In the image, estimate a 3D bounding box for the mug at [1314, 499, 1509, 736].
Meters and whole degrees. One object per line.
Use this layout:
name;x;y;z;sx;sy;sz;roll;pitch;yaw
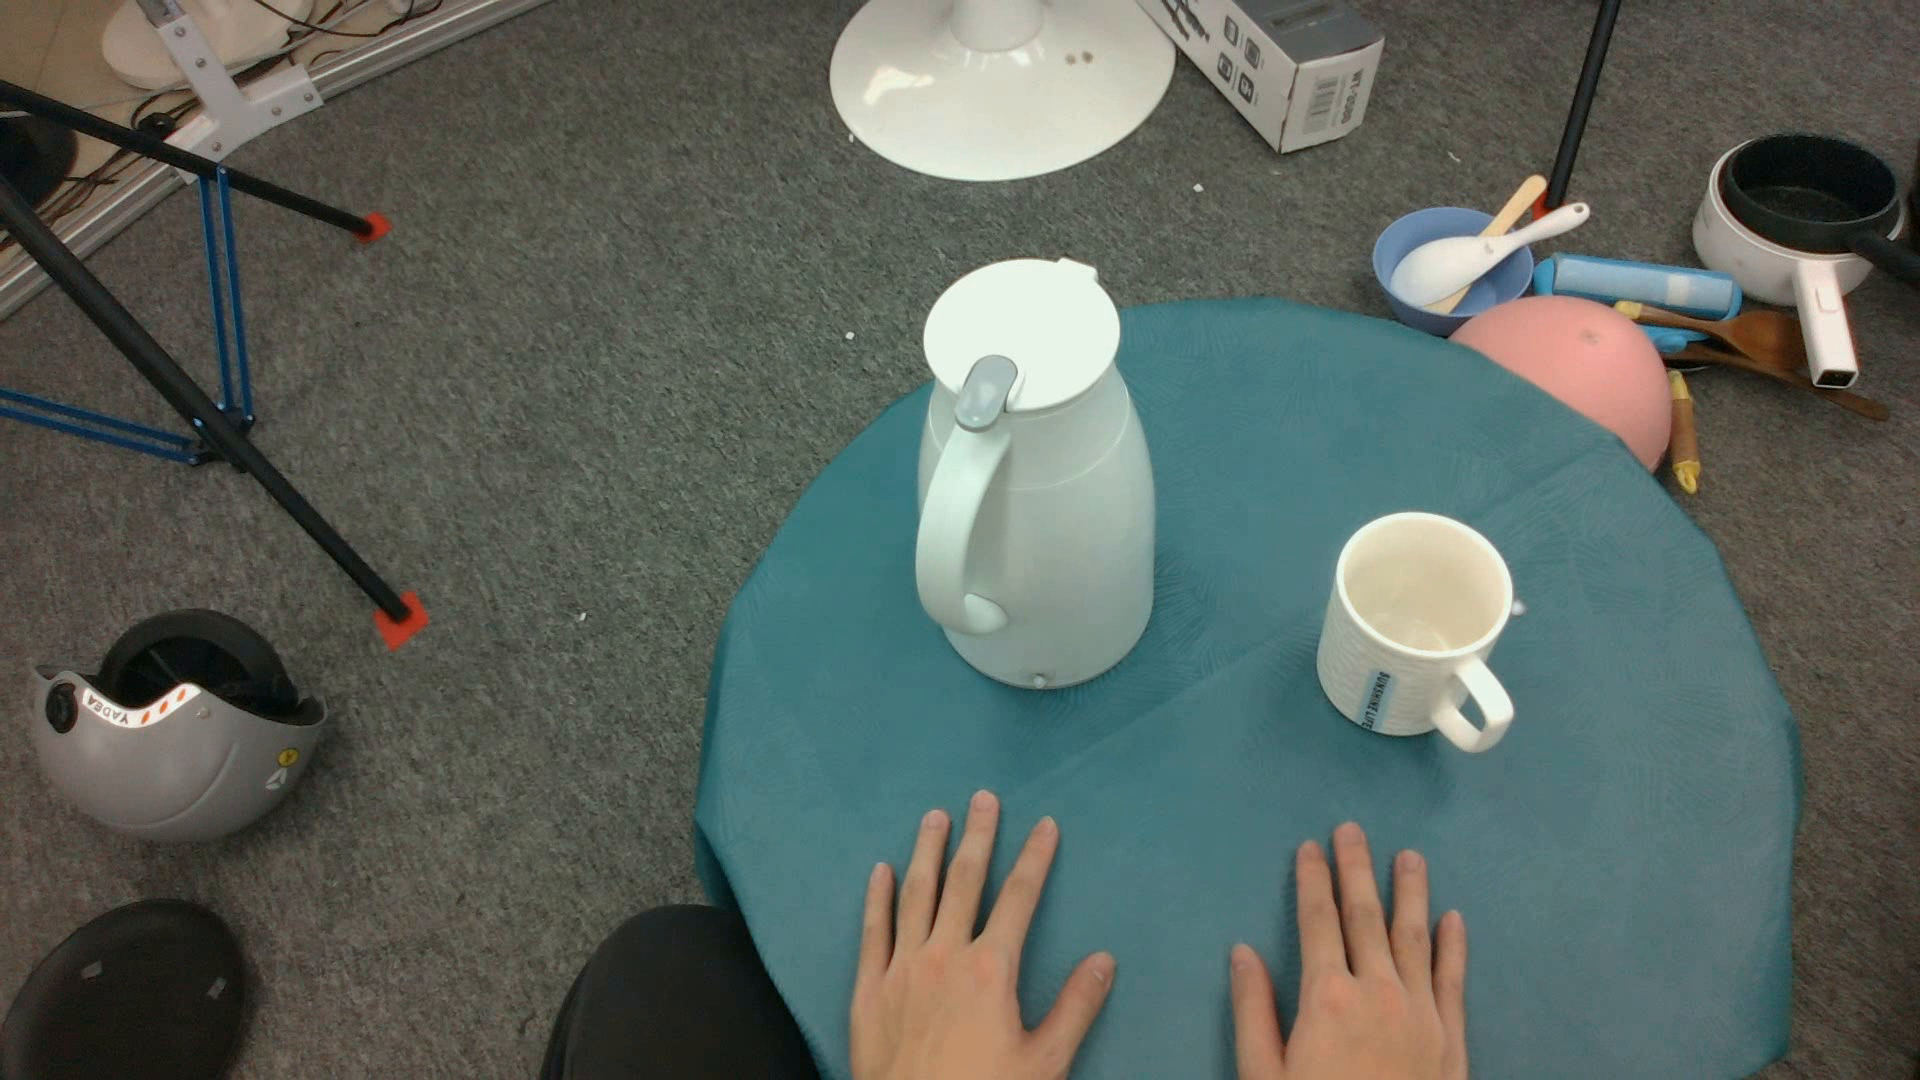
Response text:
mug;0.246;0.052;0.738;0.085;0.101;0.118;-25;59;-9

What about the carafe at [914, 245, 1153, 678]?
carafe;0.031;-0.025;0.723;0.132;0.247;0.168;20;62;17
